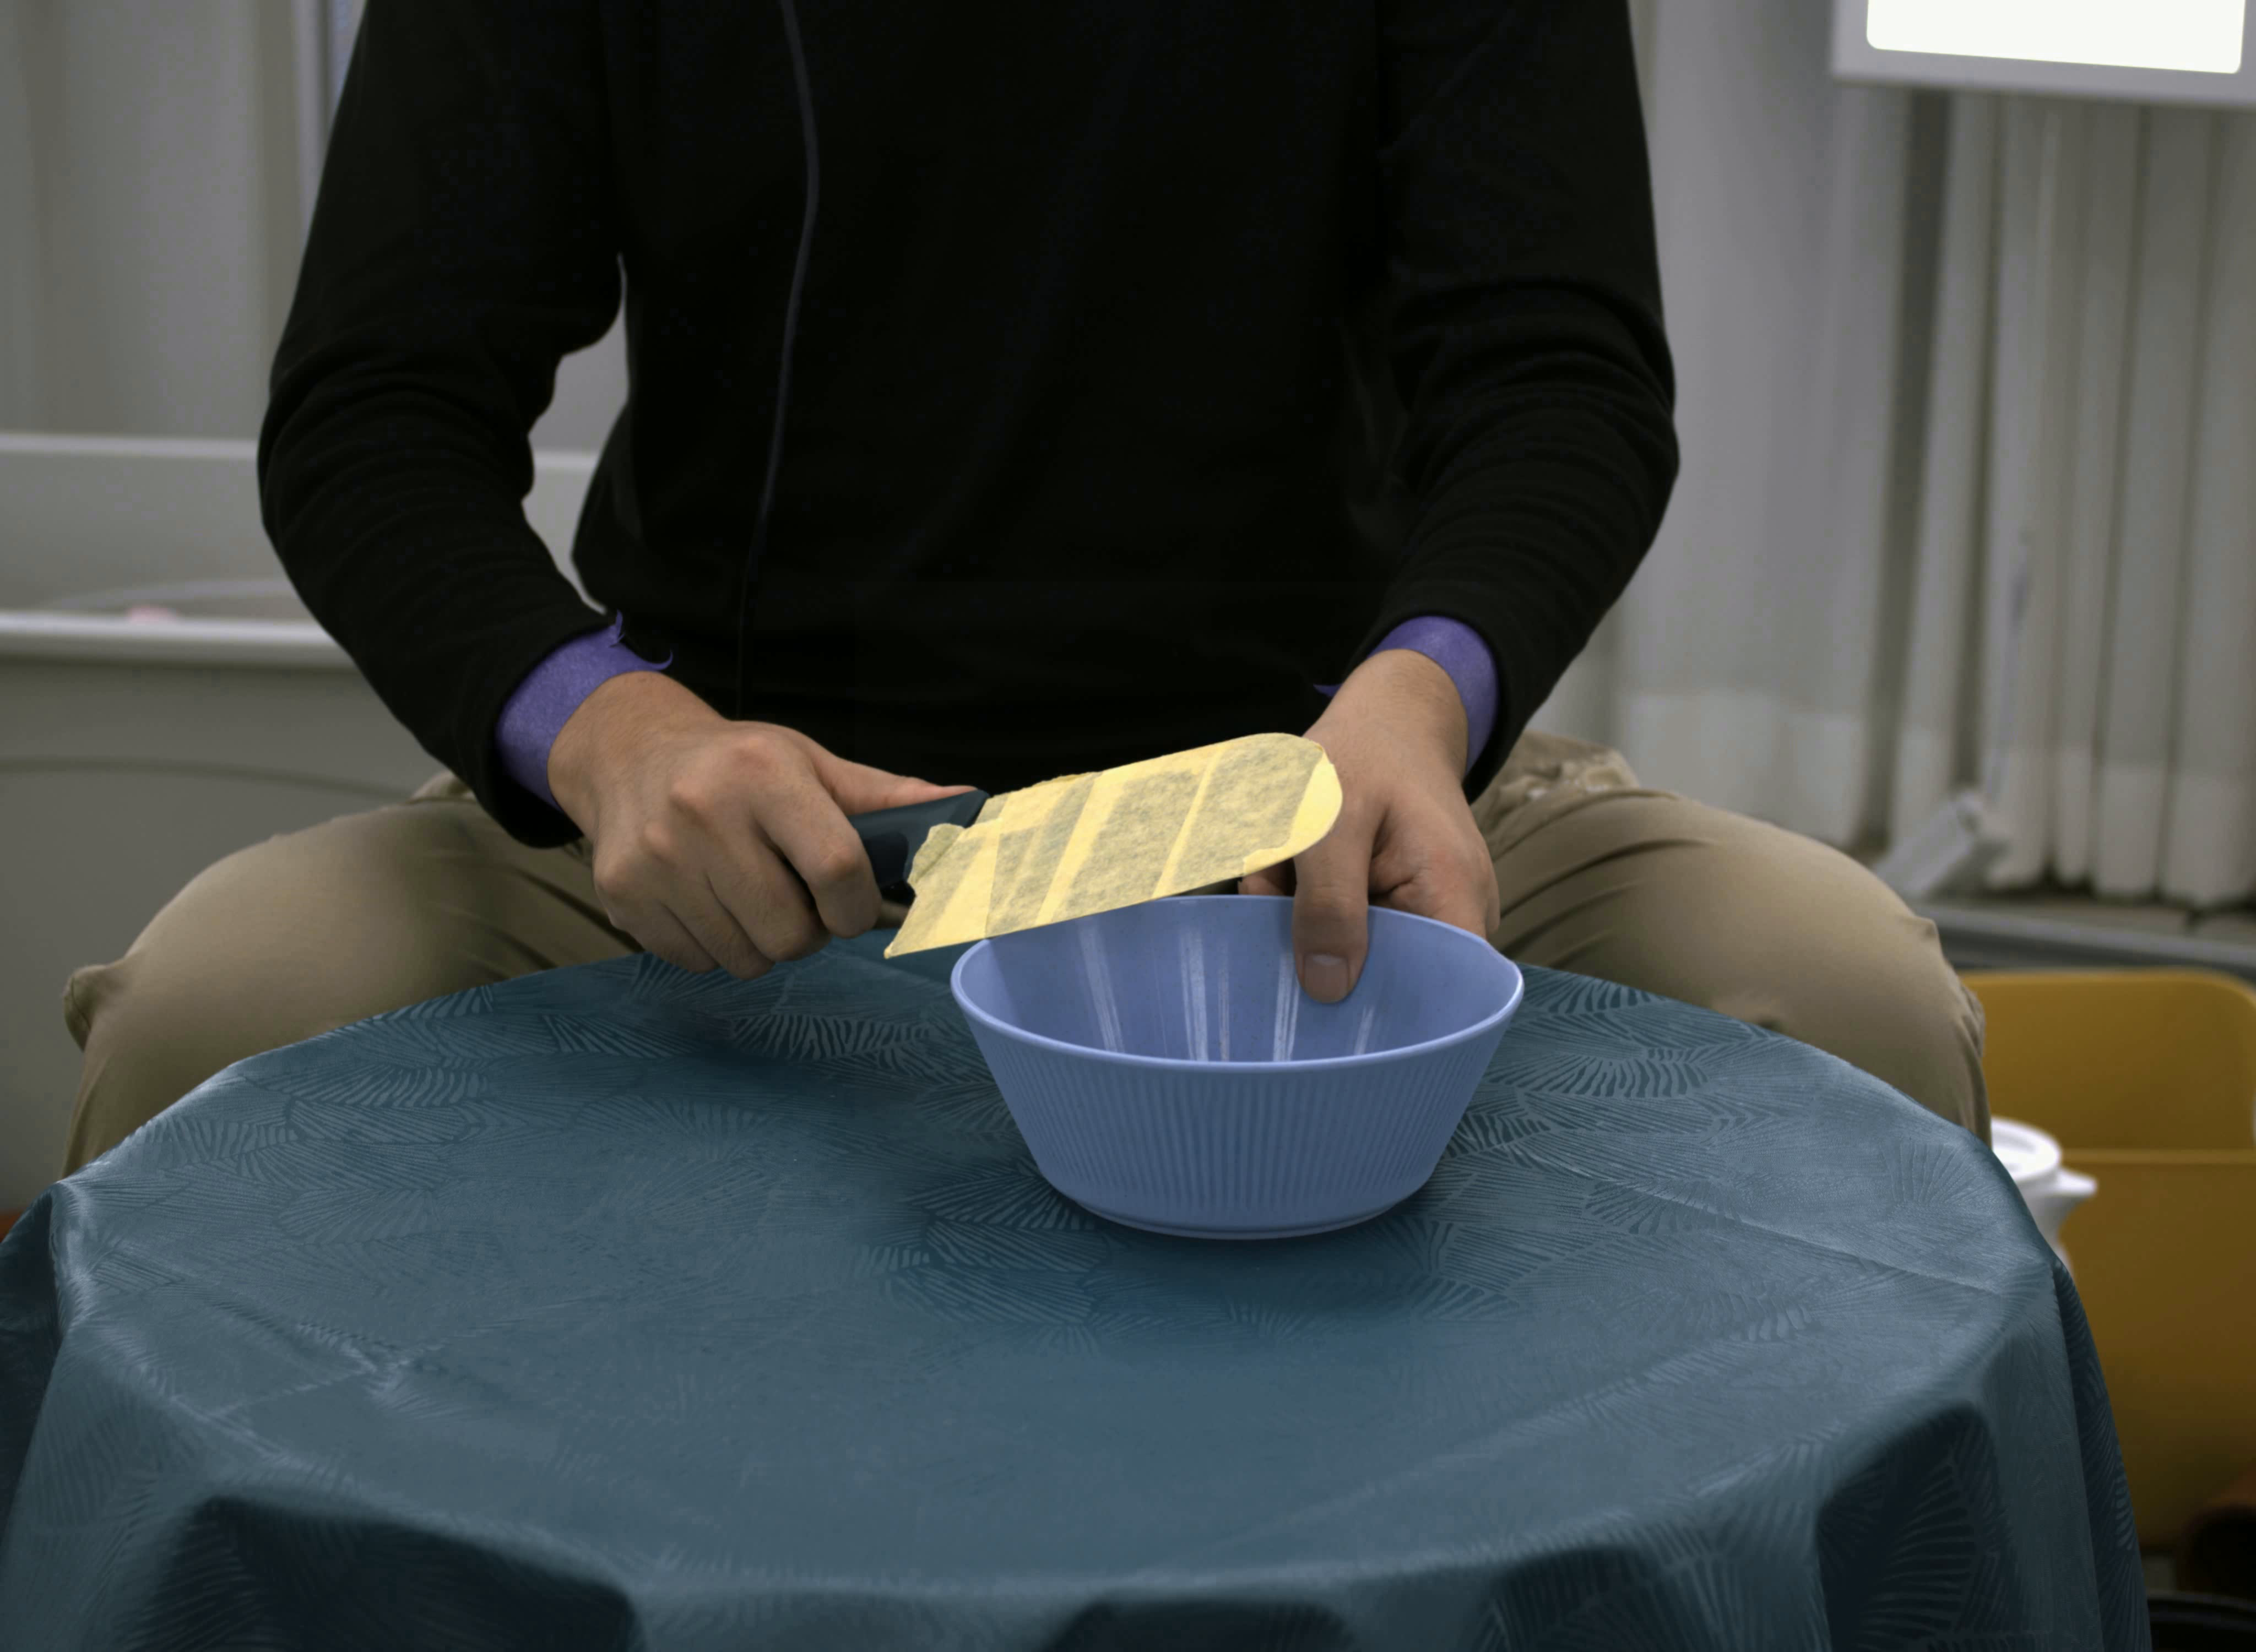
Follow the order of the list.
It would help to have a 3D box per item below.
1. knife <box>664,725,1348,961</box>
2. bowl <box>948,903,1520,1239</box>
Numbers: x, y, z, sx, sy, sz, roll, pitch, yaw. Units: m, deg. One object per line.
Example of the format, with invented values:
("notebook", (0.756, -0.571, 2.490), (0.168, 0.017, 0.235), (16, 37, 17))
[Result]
("knife", (-0.045, 0.013, 1.684), (0.287, 0.027, 0.081), (-13, 34, 37))
("bowl", (0.032, 0.077, 1.621), (0.175, 0.071, 0.175), (0, 16, 1))
